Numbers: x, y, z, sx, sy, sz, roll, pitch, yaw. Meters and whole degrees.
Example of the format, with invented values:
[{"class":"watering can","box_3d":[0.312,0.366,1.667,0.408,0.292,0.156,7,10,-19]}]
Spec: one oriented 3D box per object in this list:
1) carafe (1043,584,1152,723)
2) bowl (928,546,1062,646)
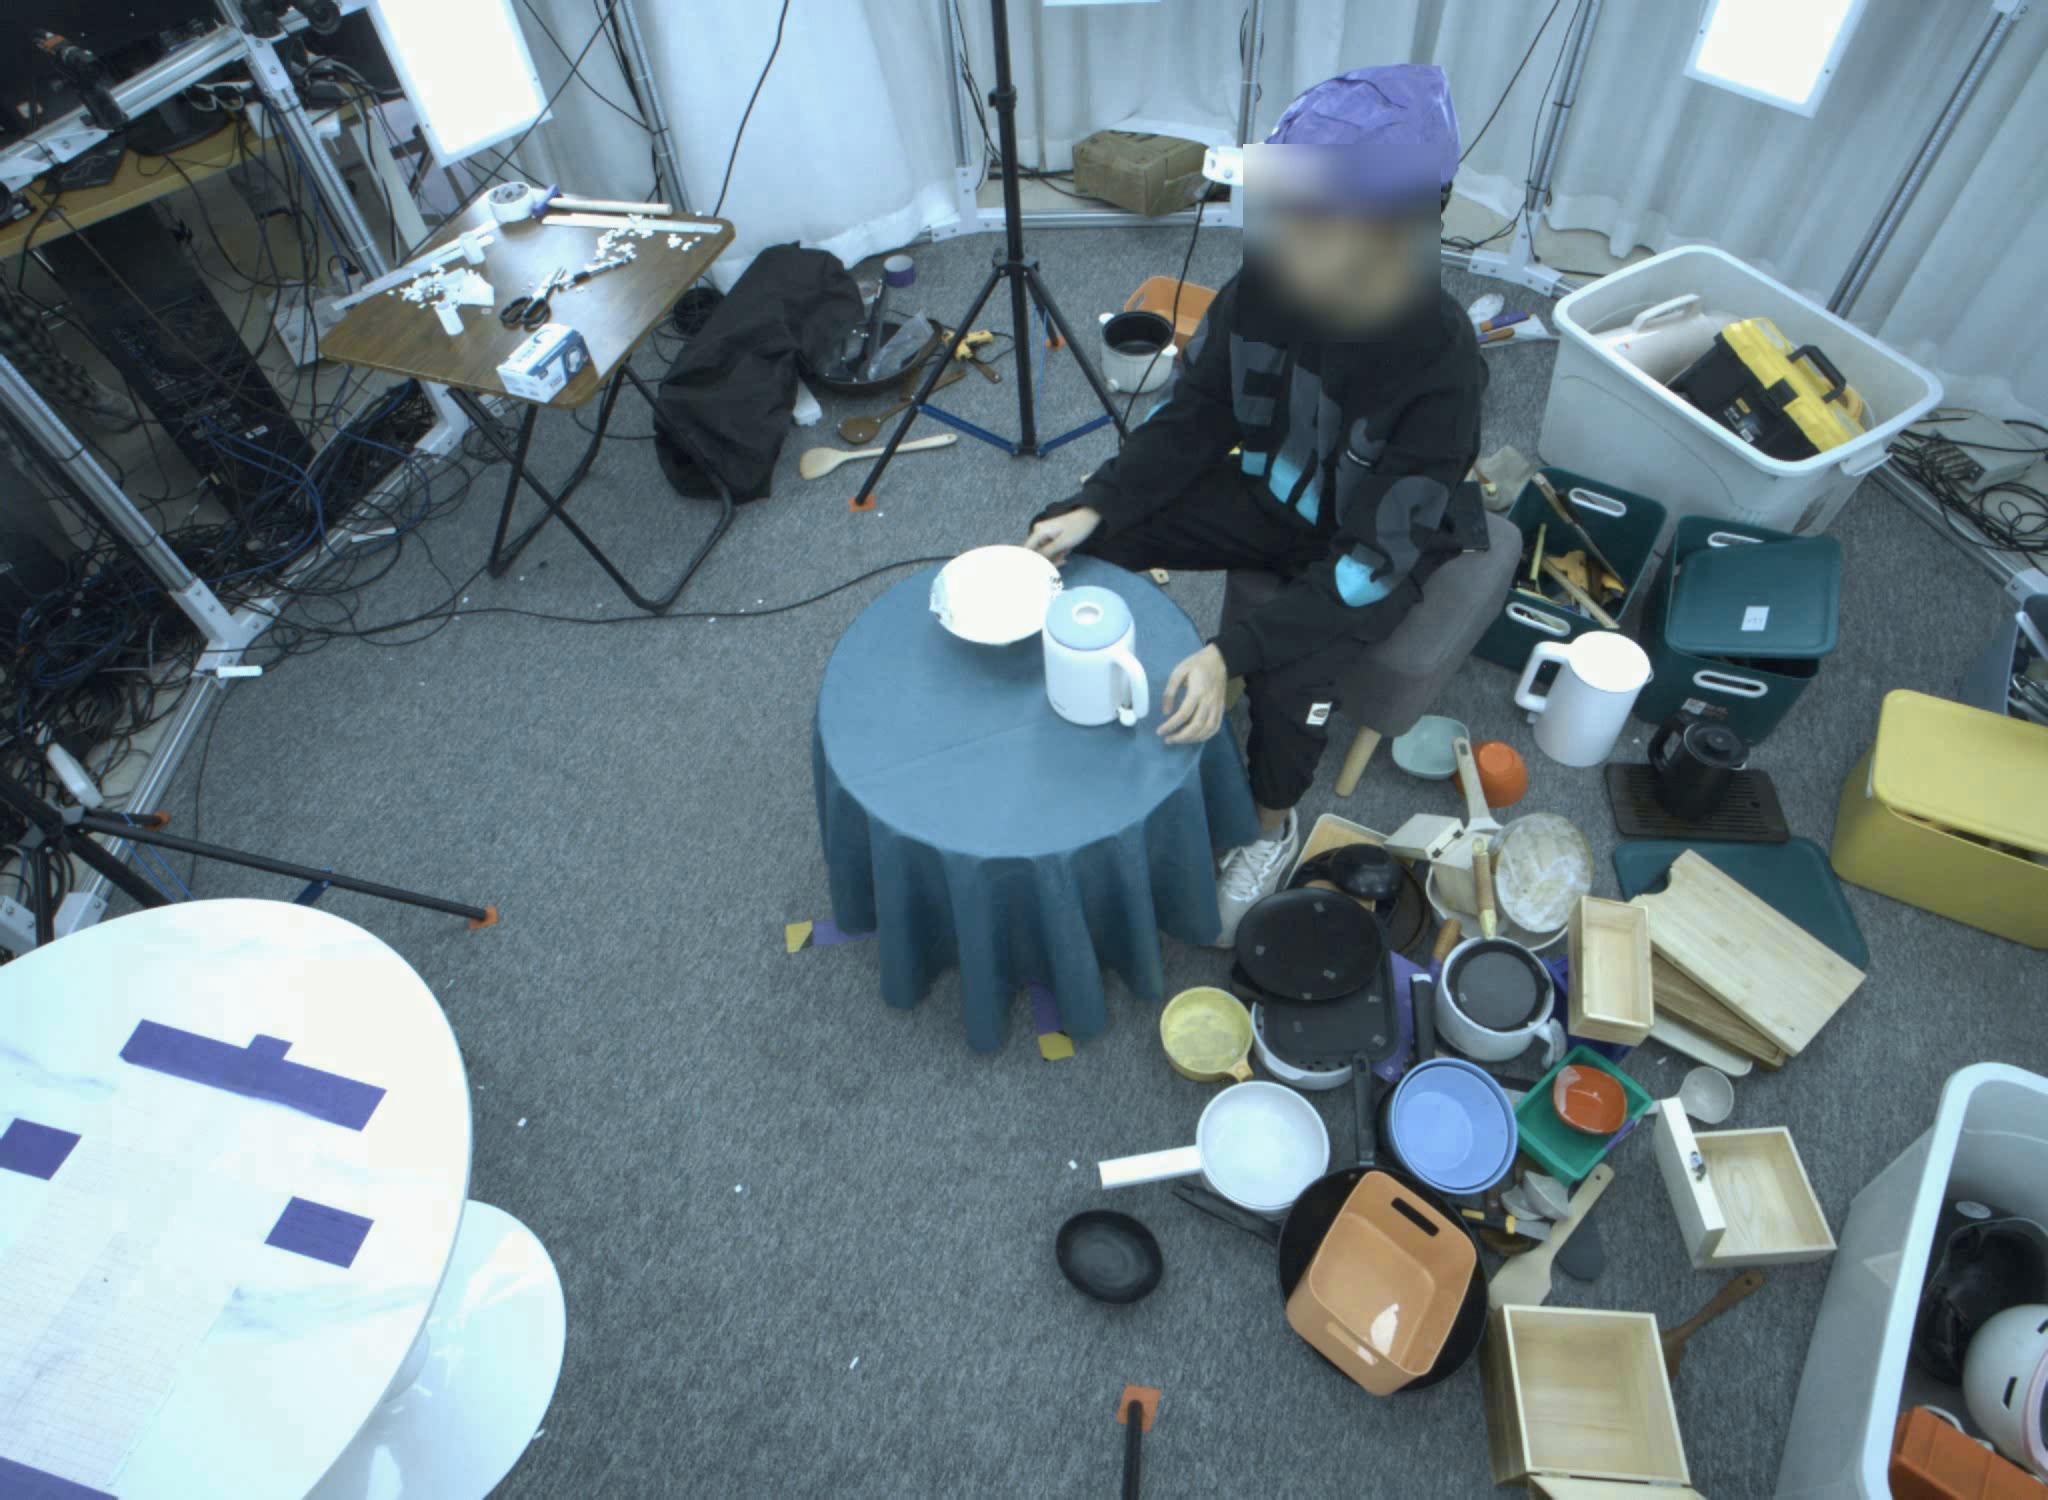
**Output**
[{"class":"carafe","box_3d":[0.111,-0.123,1.761,0.133,0.184,0.188,-39,64,-20]},{"class":"bowl","box_3d":[-0.043,-0.218,1.893,0.204,0.079,0.202,1,53,0]}]
